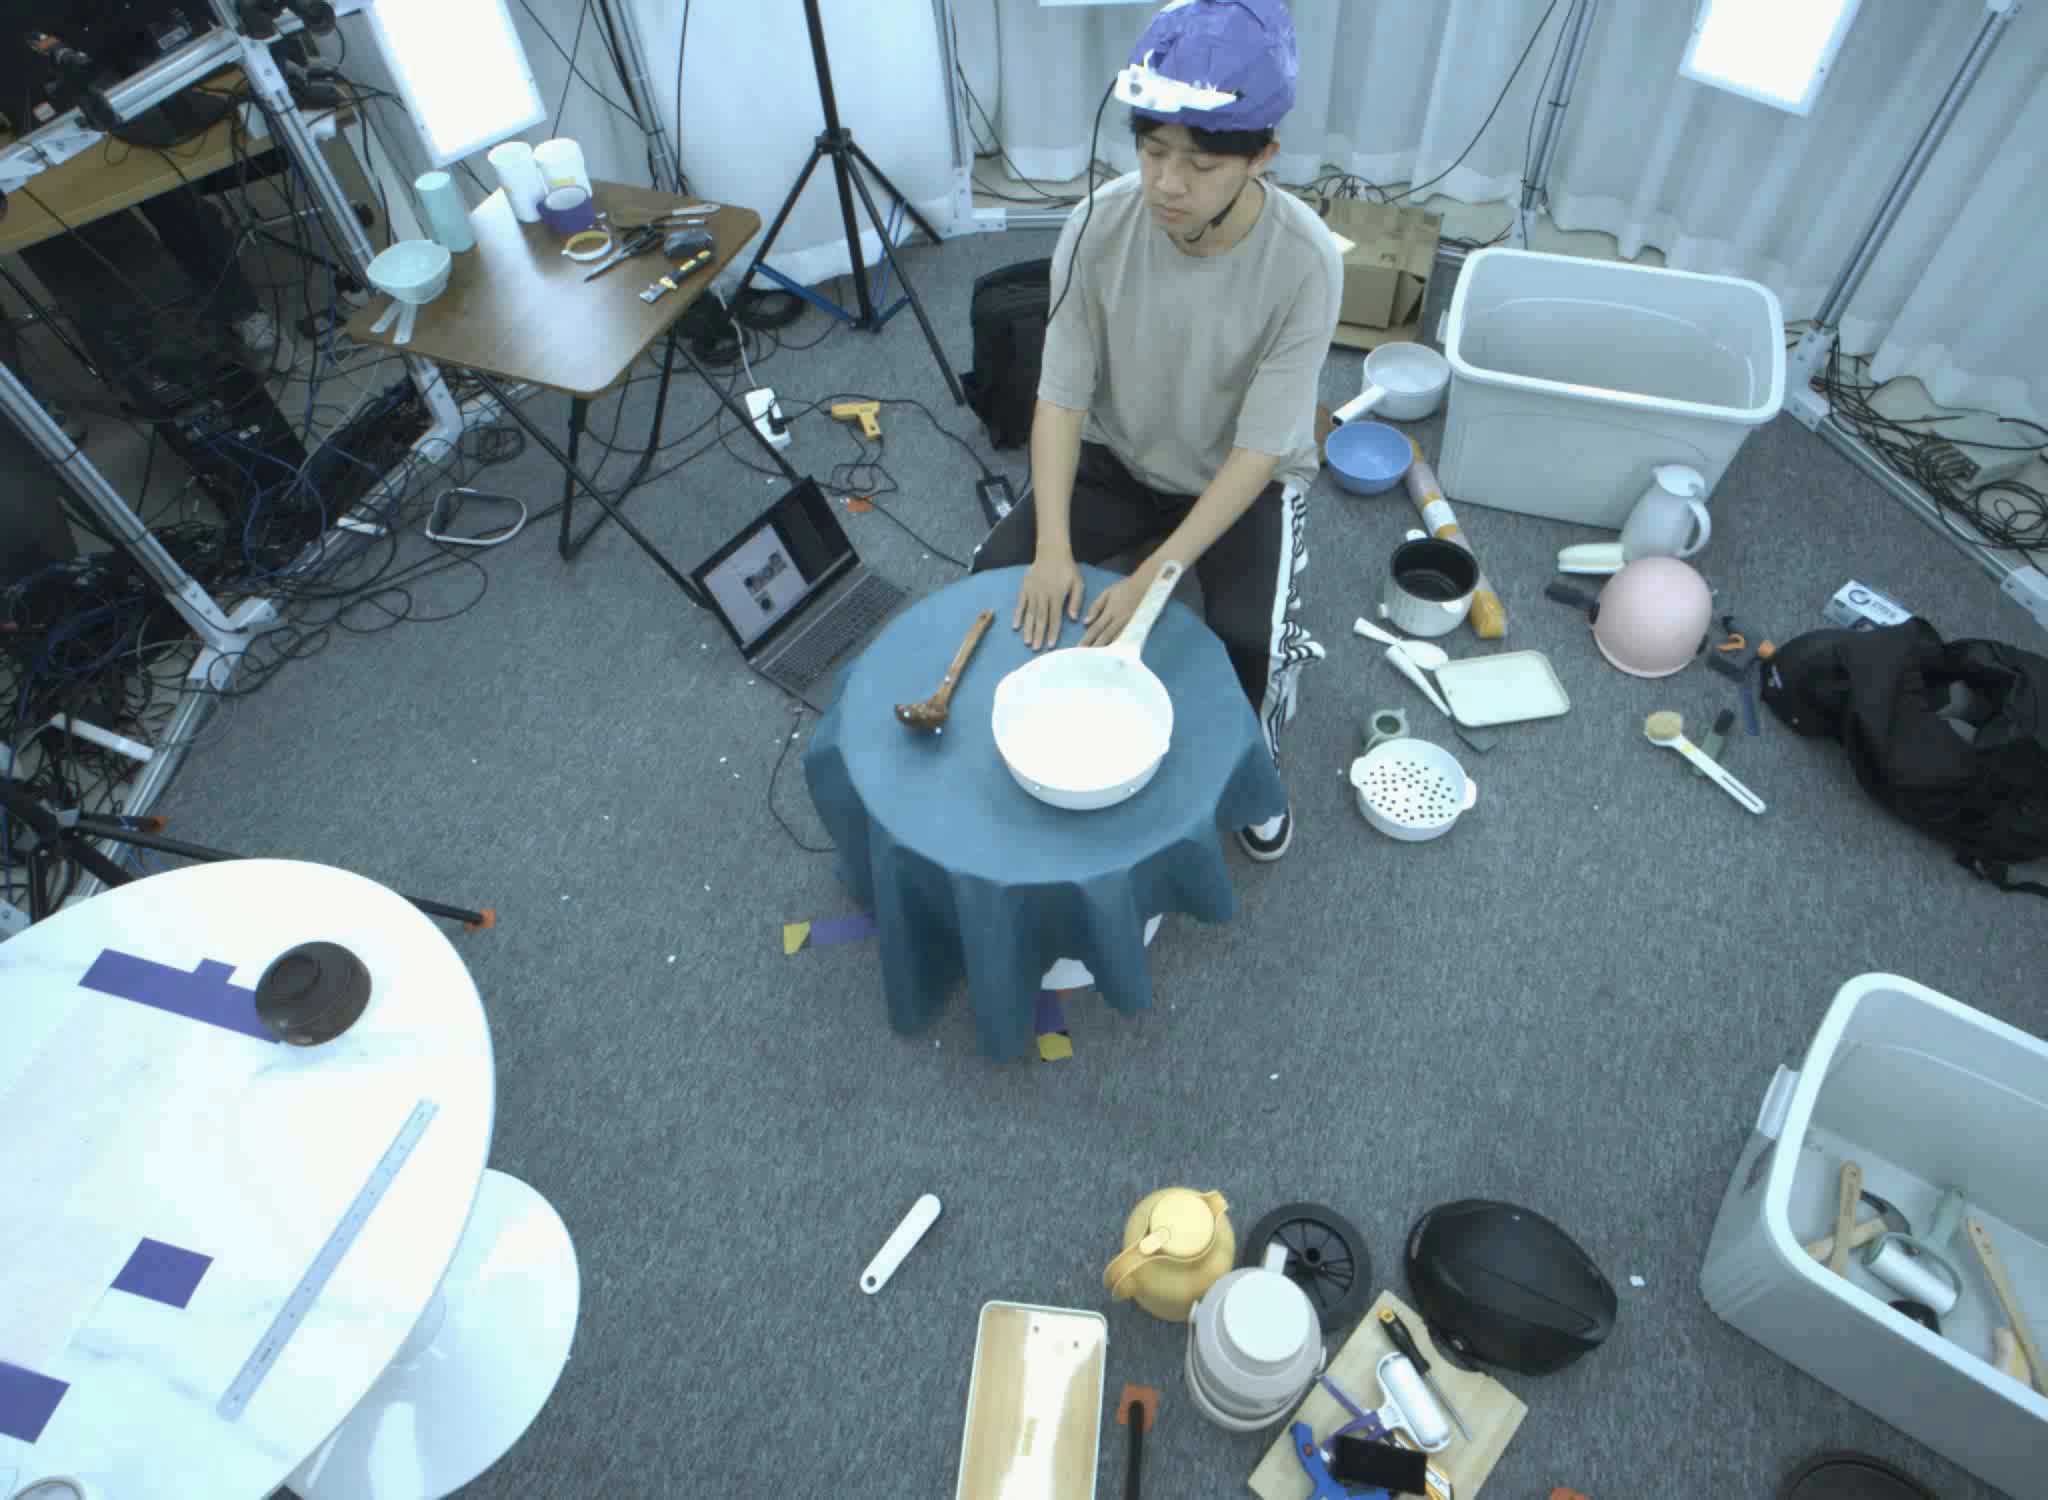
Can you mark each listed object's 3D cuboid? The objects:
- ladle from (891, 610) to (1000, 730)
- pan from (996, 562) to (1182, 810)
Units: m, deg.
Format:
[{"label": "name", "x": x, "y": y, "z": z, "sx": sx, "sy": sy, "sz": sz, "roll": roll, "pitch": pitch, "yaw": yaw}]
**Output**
[{"label": "ladle", "x": -0.110, "y": -0.134, "z": 1.836, "sx": 0.081, "sy": 0.077, "sz": 0.274, "roll": 17, "pitch": 58, "yaw": 18}, {"label": "pan", "x": 0.132, "y": -0.095, "z": 1.786, "sx": 0.259, "sy": 0.103, "sz": 0.436, "roll": 22, "pitch": 58, "yaw": 19}]
